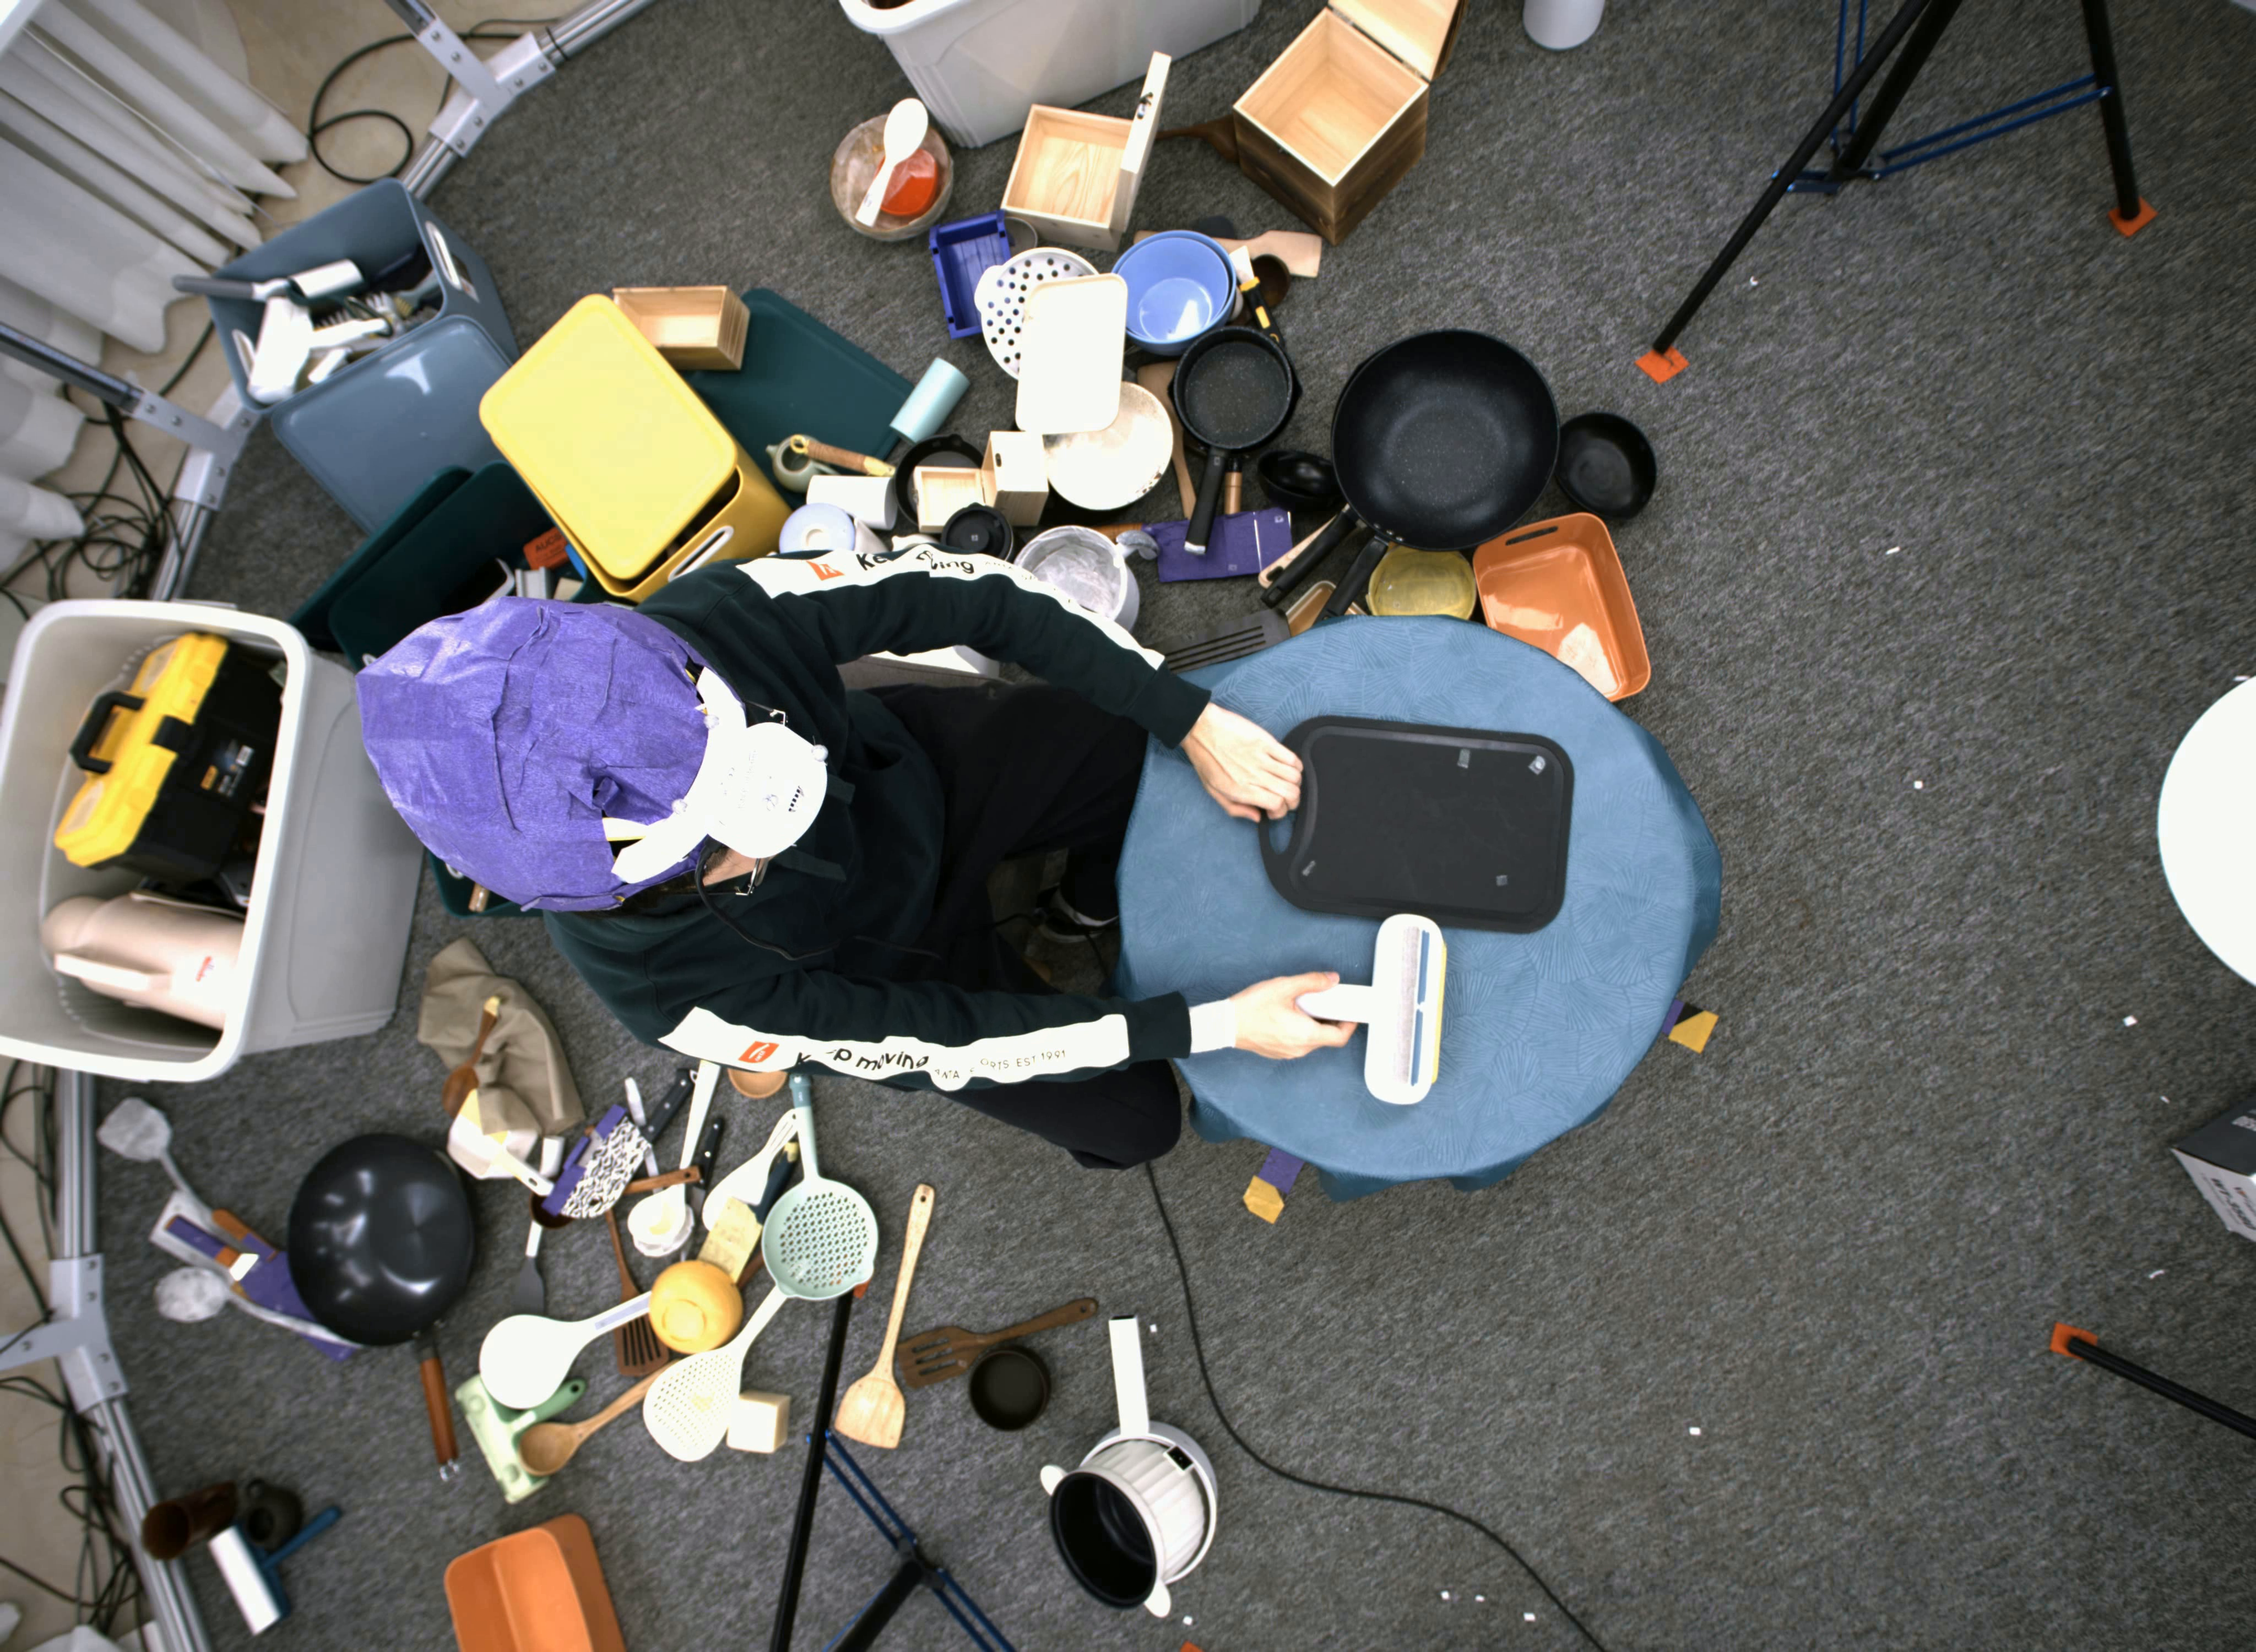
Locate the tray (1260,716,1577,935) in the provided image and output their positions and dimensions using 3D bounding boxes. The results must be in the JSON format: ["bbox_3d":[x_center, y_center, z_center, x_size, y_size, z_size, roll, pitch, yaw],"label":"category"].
[{"bbox_3d":[0.301,-0.004,1.442,0.326,0.010,0.210,6,88,7],"label":"tray"}]

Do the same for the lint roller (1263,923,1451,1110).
[{"bbox_3d":[0.228,0.186,1.439,0.193,0.074,0.191,9,80,22],"label":"lint roller"}]
